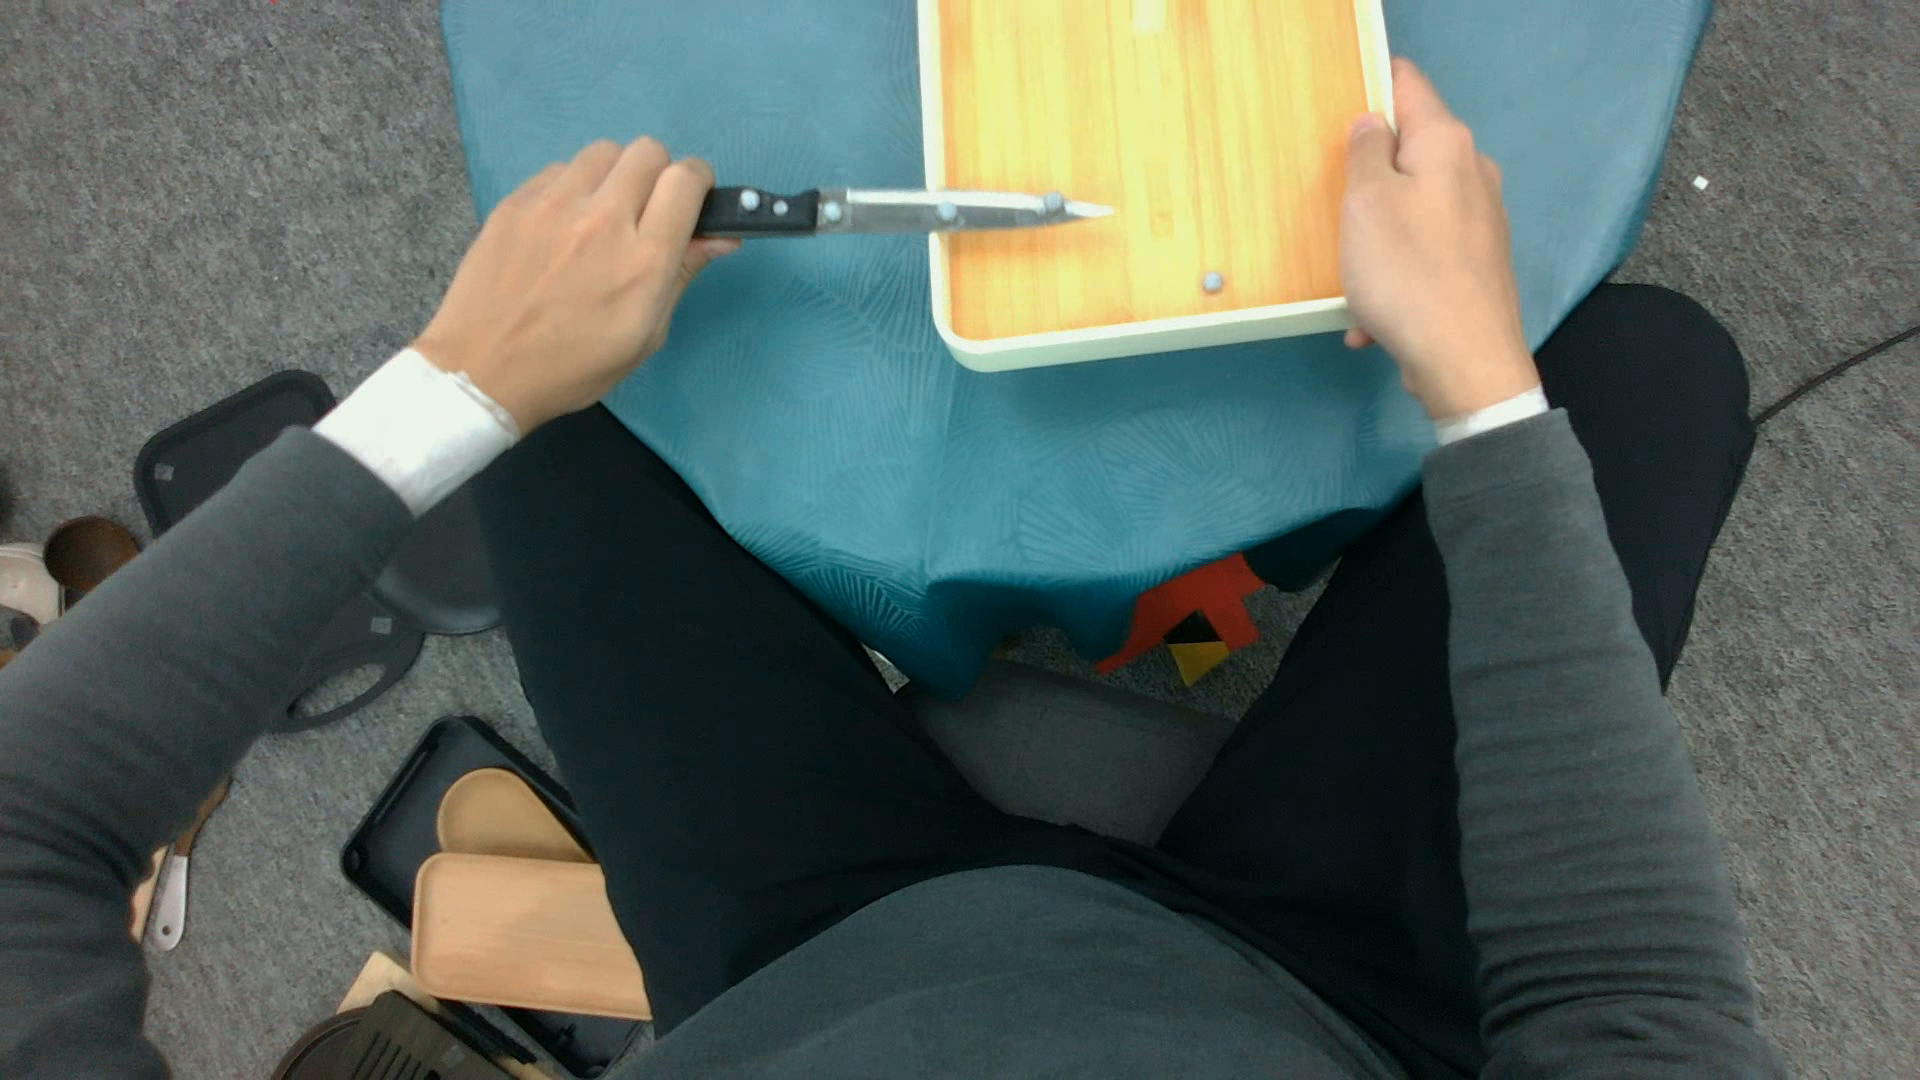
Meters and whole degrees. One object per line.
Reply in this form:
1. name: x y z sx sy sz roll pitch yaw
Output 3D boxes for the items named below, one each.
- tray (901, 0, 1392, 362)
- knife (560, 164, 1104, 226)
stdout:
1. tray: 0.070 -0.227 0.599 0.191 0.027 0.301 -6 73 9
2. knife: -0.058 -0.145 0.582 0.238 0.016 0.024 1 71 10
